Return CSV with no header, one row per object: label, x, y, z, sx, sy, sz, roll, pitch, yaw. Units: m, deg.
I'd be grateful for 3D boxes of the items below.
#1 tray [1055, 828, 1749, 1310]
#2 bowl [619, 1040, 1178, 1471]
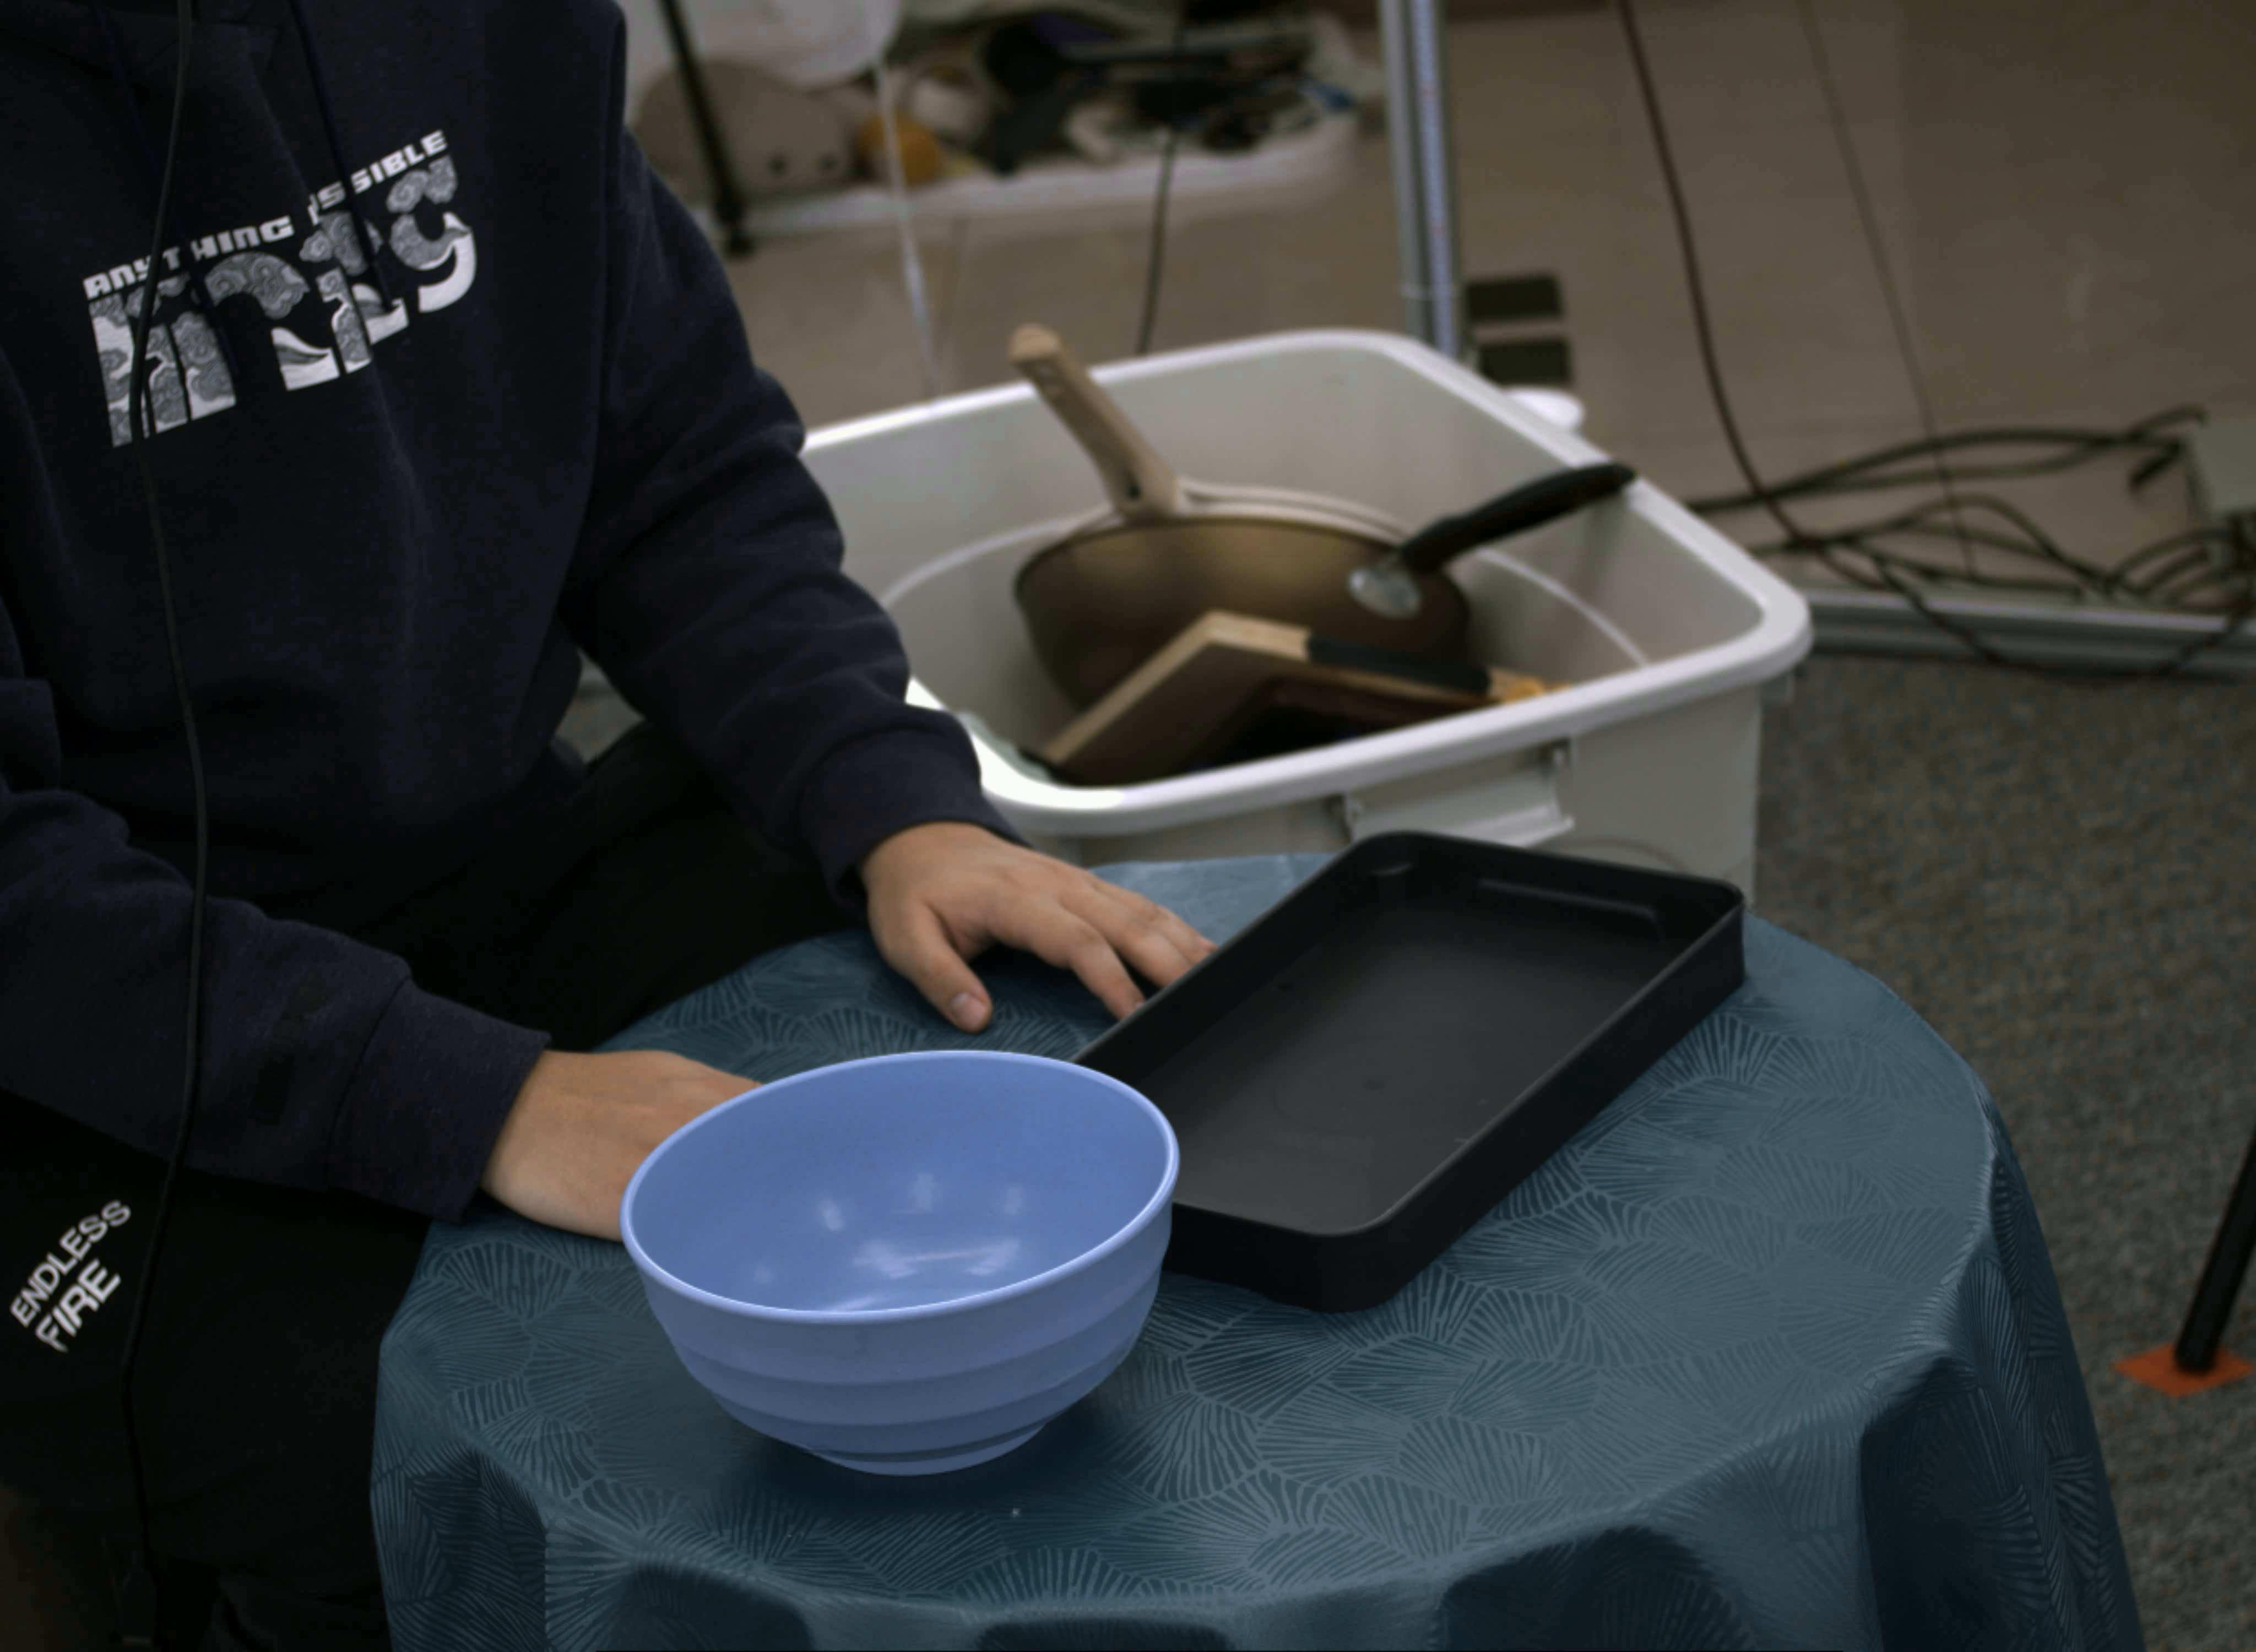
tray,0.094,0.088,2.191,0.183,0.037,0.314,10,29,33
bowl,-0.075,0.162,1.995,0.196,0.097,0.193,-5,27,3
